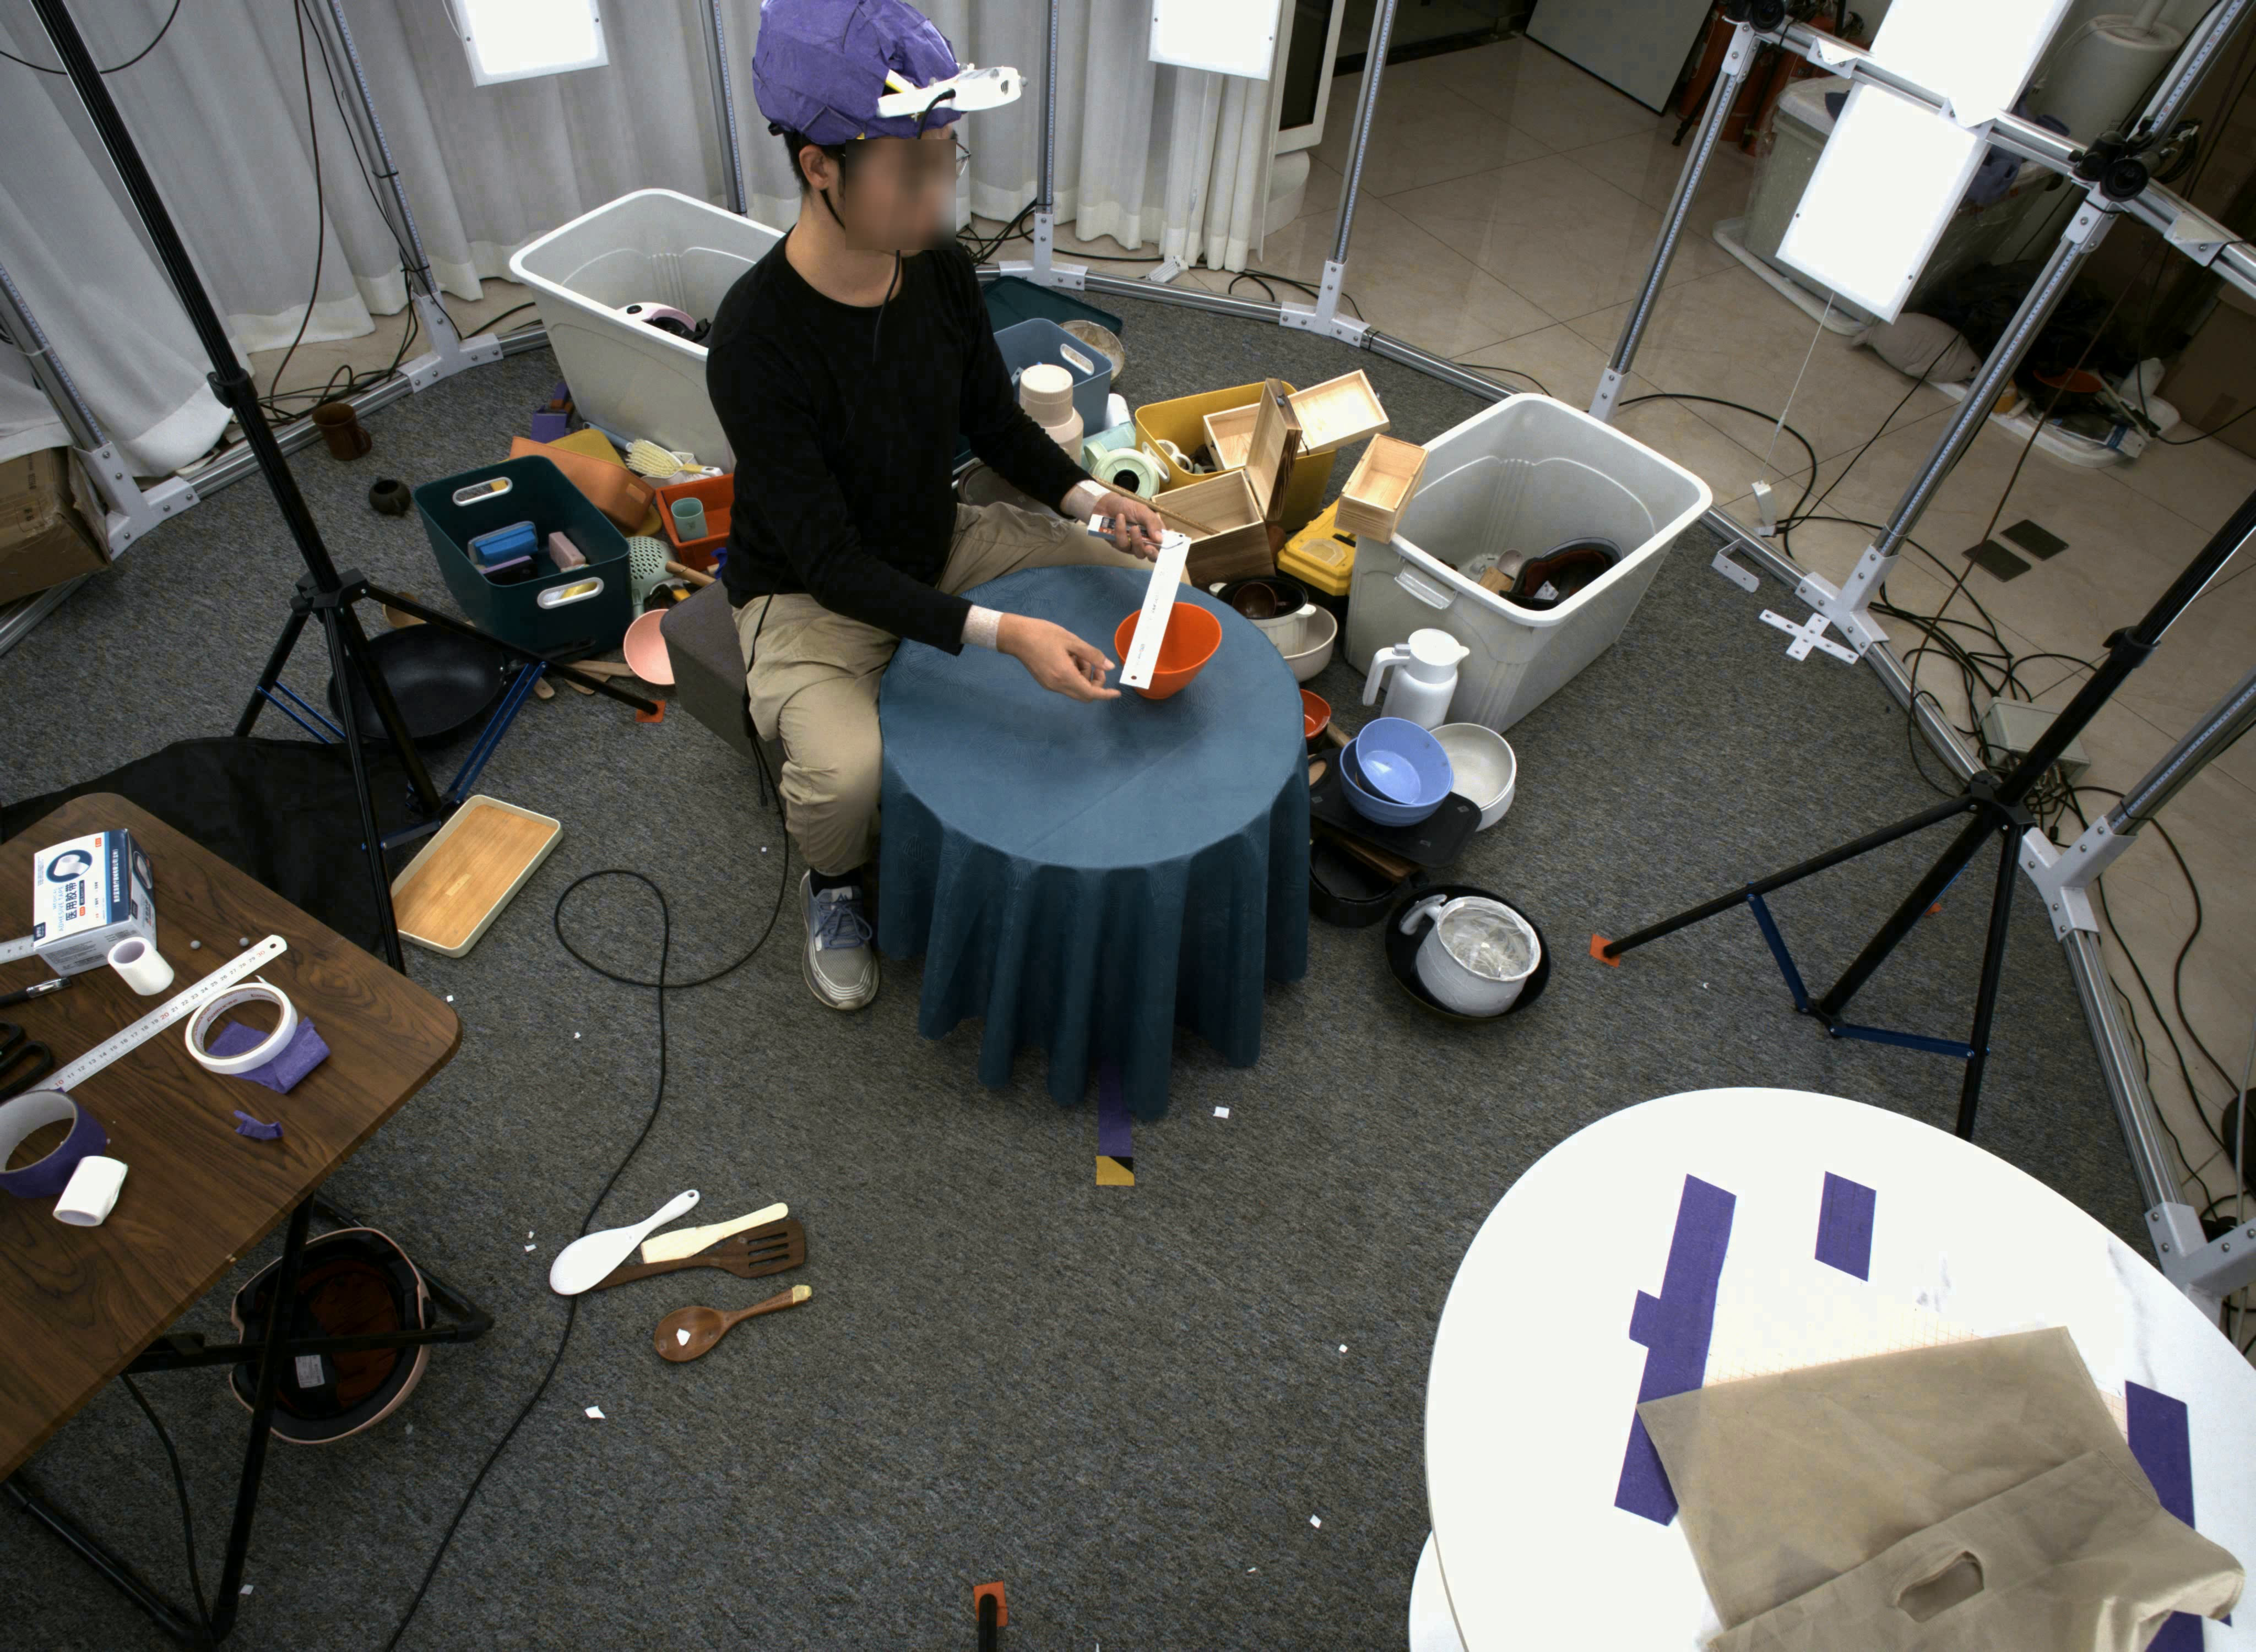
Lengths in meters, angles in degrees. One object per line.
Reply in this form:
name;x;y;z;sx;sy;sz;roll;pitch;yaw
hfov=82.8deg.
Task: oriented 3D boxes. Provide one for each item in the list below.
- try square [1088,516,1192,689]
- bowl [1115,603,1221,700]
try square;-0.011;-0.322;1.821;0.152;0.015;0.320;11;53;6
bowl;0.053;-0.236;1.814;0.148;0.102;0.152;1;50;-2
